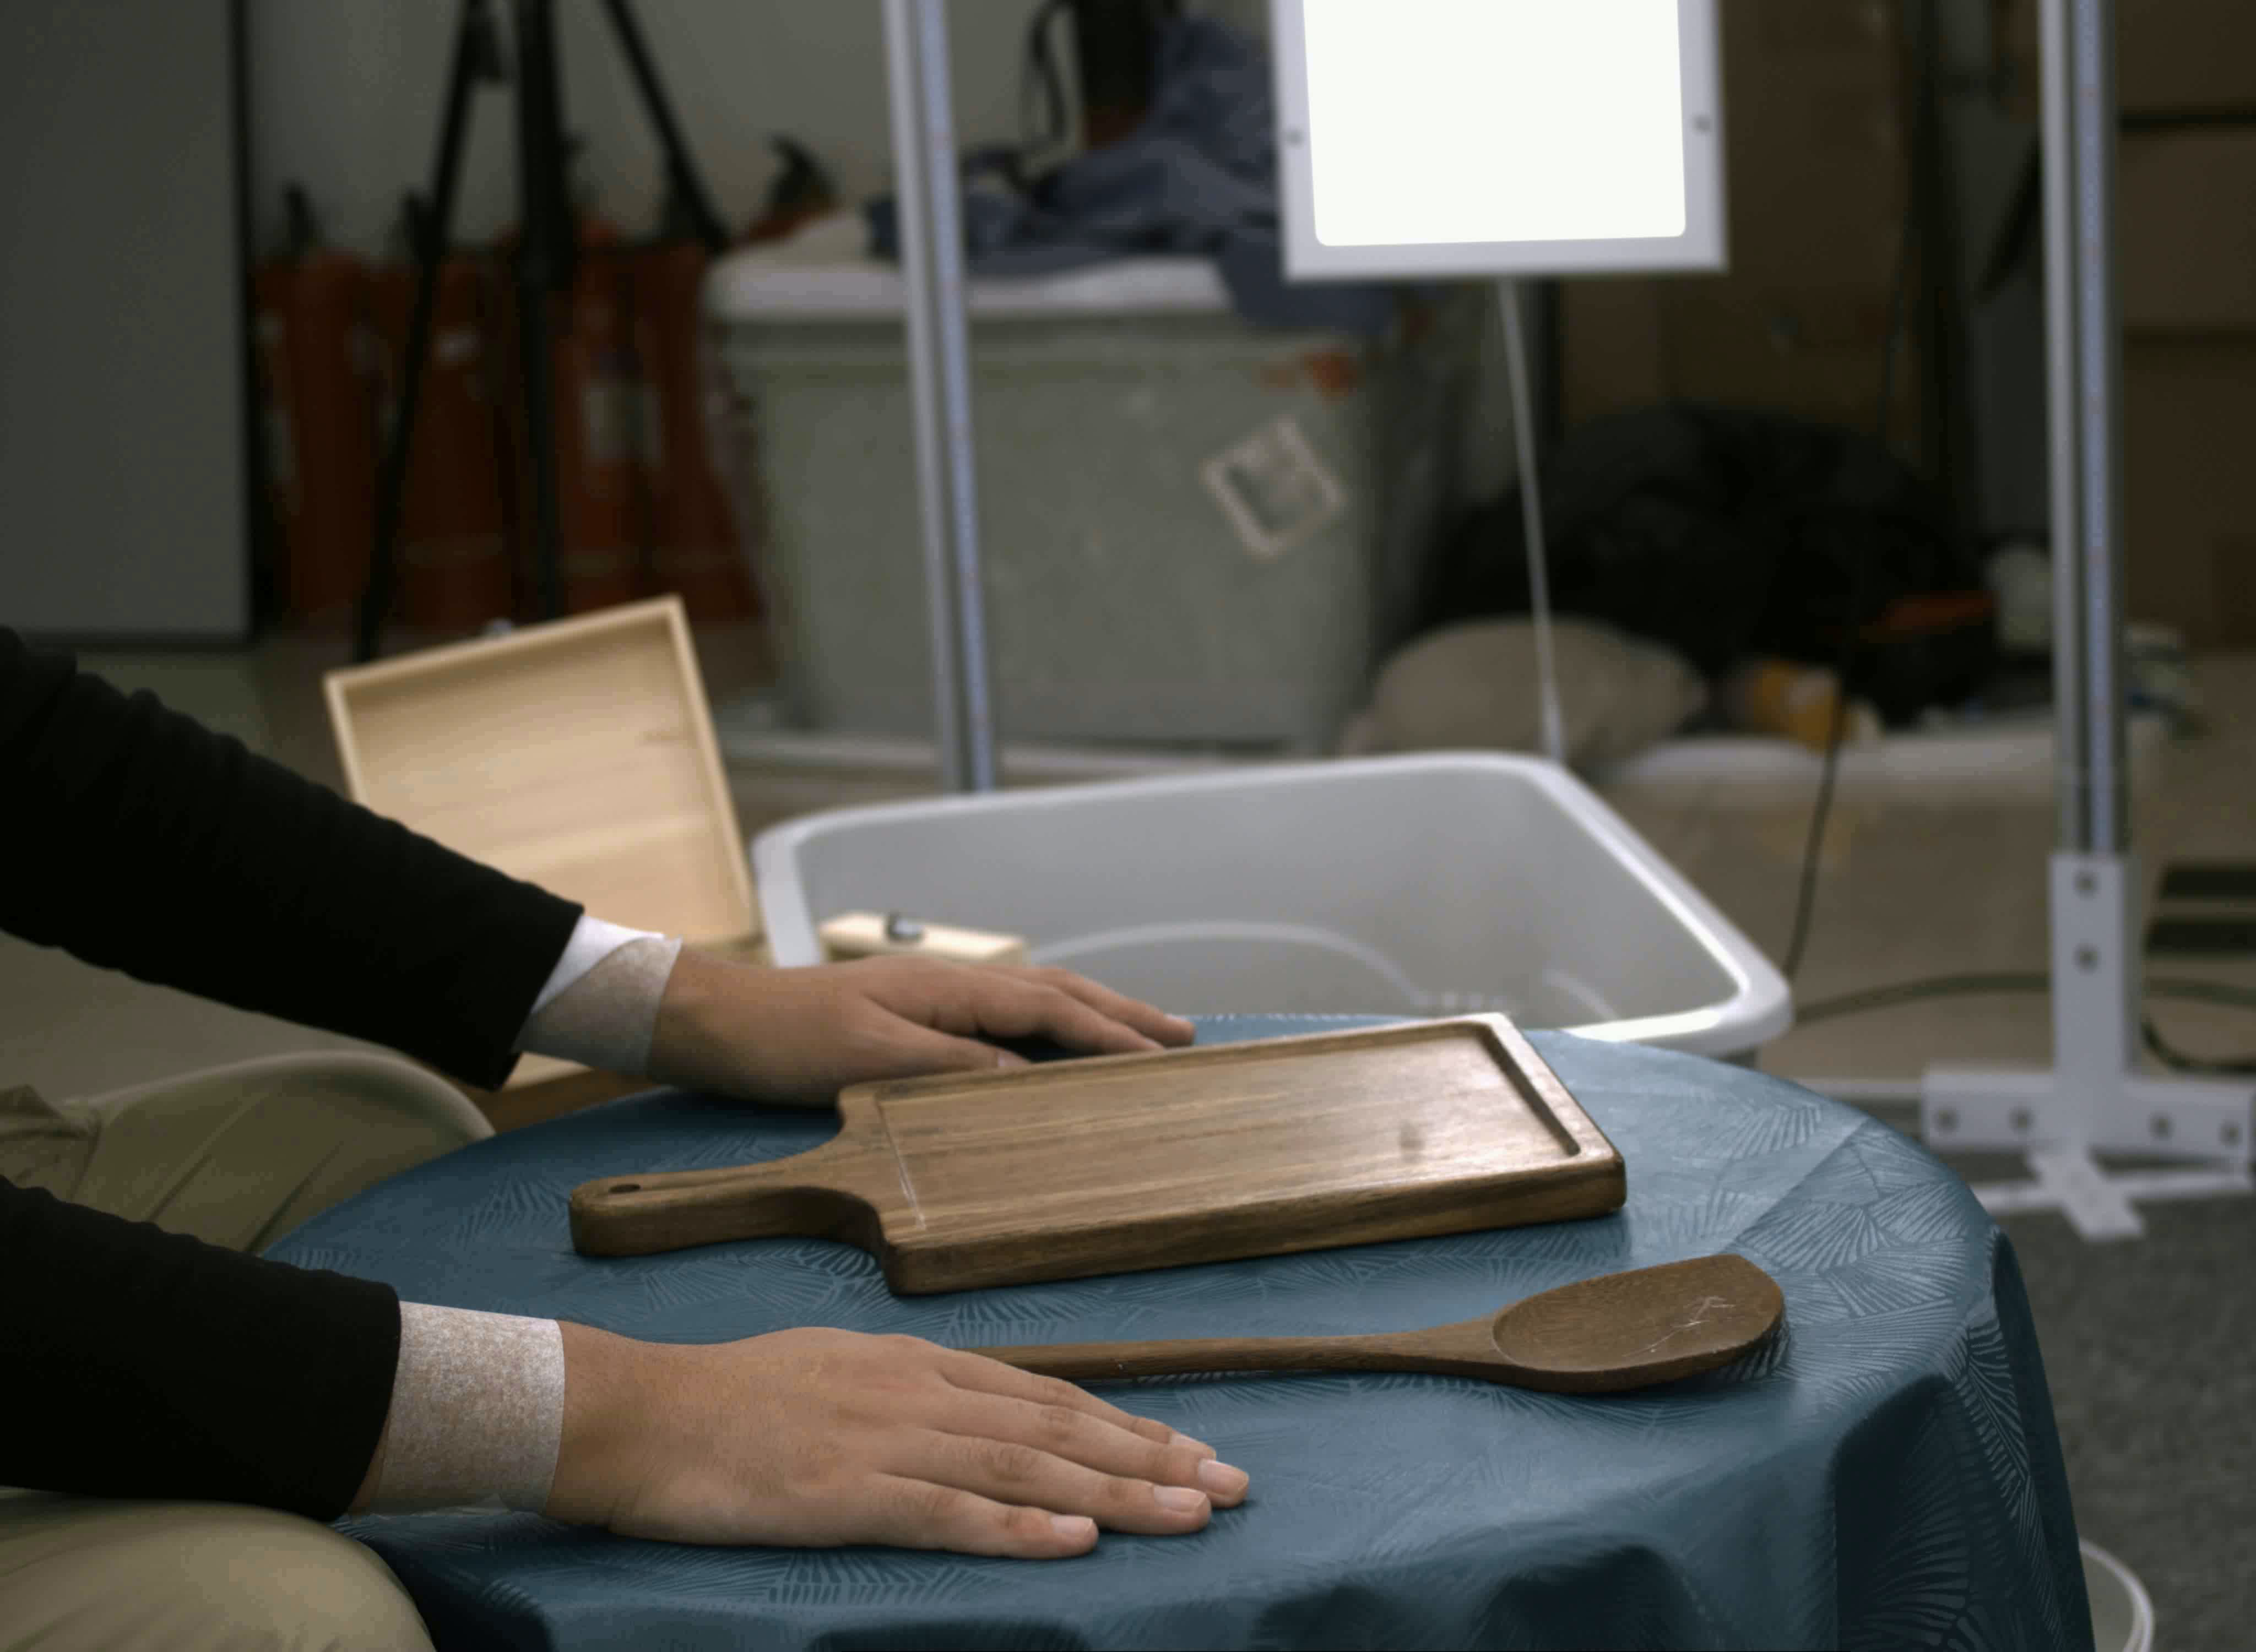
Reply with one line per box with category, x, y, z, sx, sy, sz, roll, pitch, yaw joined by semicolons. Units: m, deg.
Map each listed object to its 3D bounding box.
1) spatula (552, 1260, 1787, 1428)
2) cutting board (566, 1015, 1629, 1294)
spatula;0.012;0.165;1.707;0.386;0.016;0.095;-4;13;5
cutting board;-0.019;0.116;1.903;0.349;0.023;0.202;-6;13;-5
